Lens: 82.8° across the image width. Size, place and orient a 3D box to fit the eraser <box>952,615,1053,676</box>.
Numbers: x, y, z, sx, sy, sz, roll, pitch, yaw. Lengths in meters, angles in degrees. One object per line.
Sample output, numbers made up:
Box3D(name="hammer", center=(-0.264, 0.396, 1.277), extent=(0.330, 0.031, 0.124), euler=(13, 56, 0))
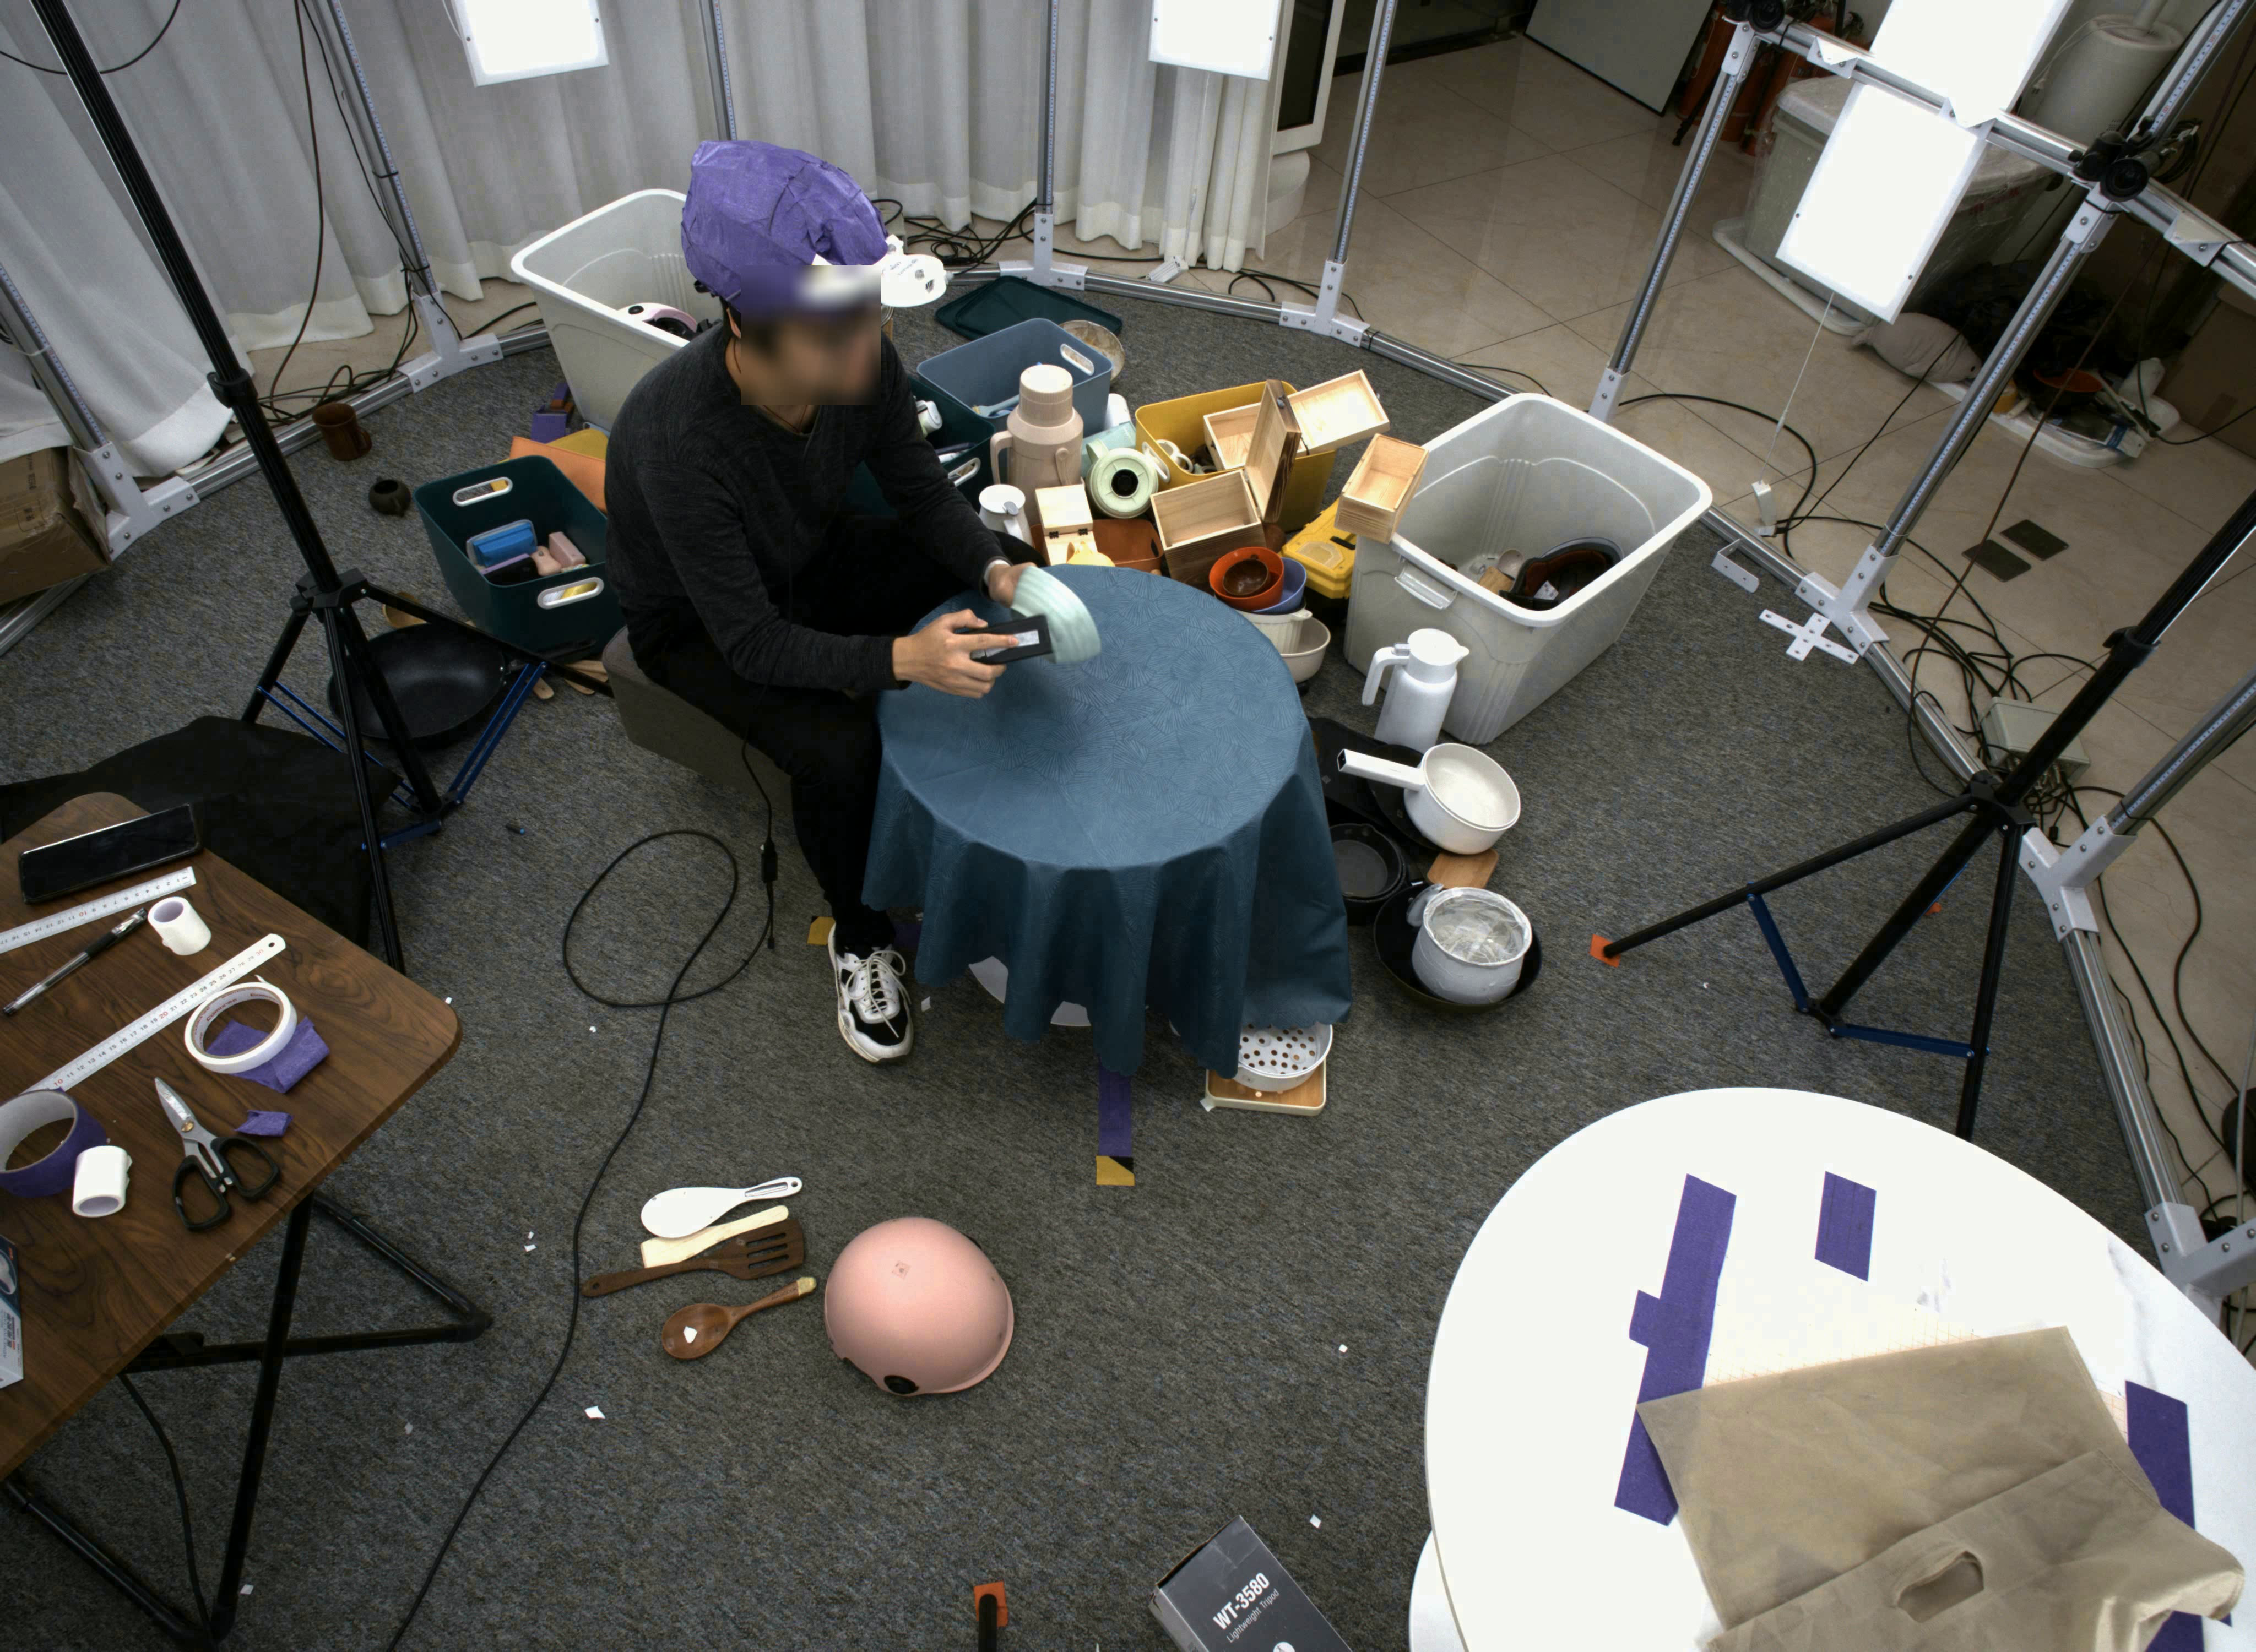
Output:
Box3D(name="eraser", center=(-0.162, -0.235, 1.670), extent=(0.125, 0.053, 0.030), euler=(-12, 7, 11))

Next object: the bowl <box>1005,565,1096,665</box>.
Box3D(name="bowl", center=(-0.112, -0.273, 1.727), extent=(0.059, 0.148, 0.154), euler=(-41, 62, -14))
